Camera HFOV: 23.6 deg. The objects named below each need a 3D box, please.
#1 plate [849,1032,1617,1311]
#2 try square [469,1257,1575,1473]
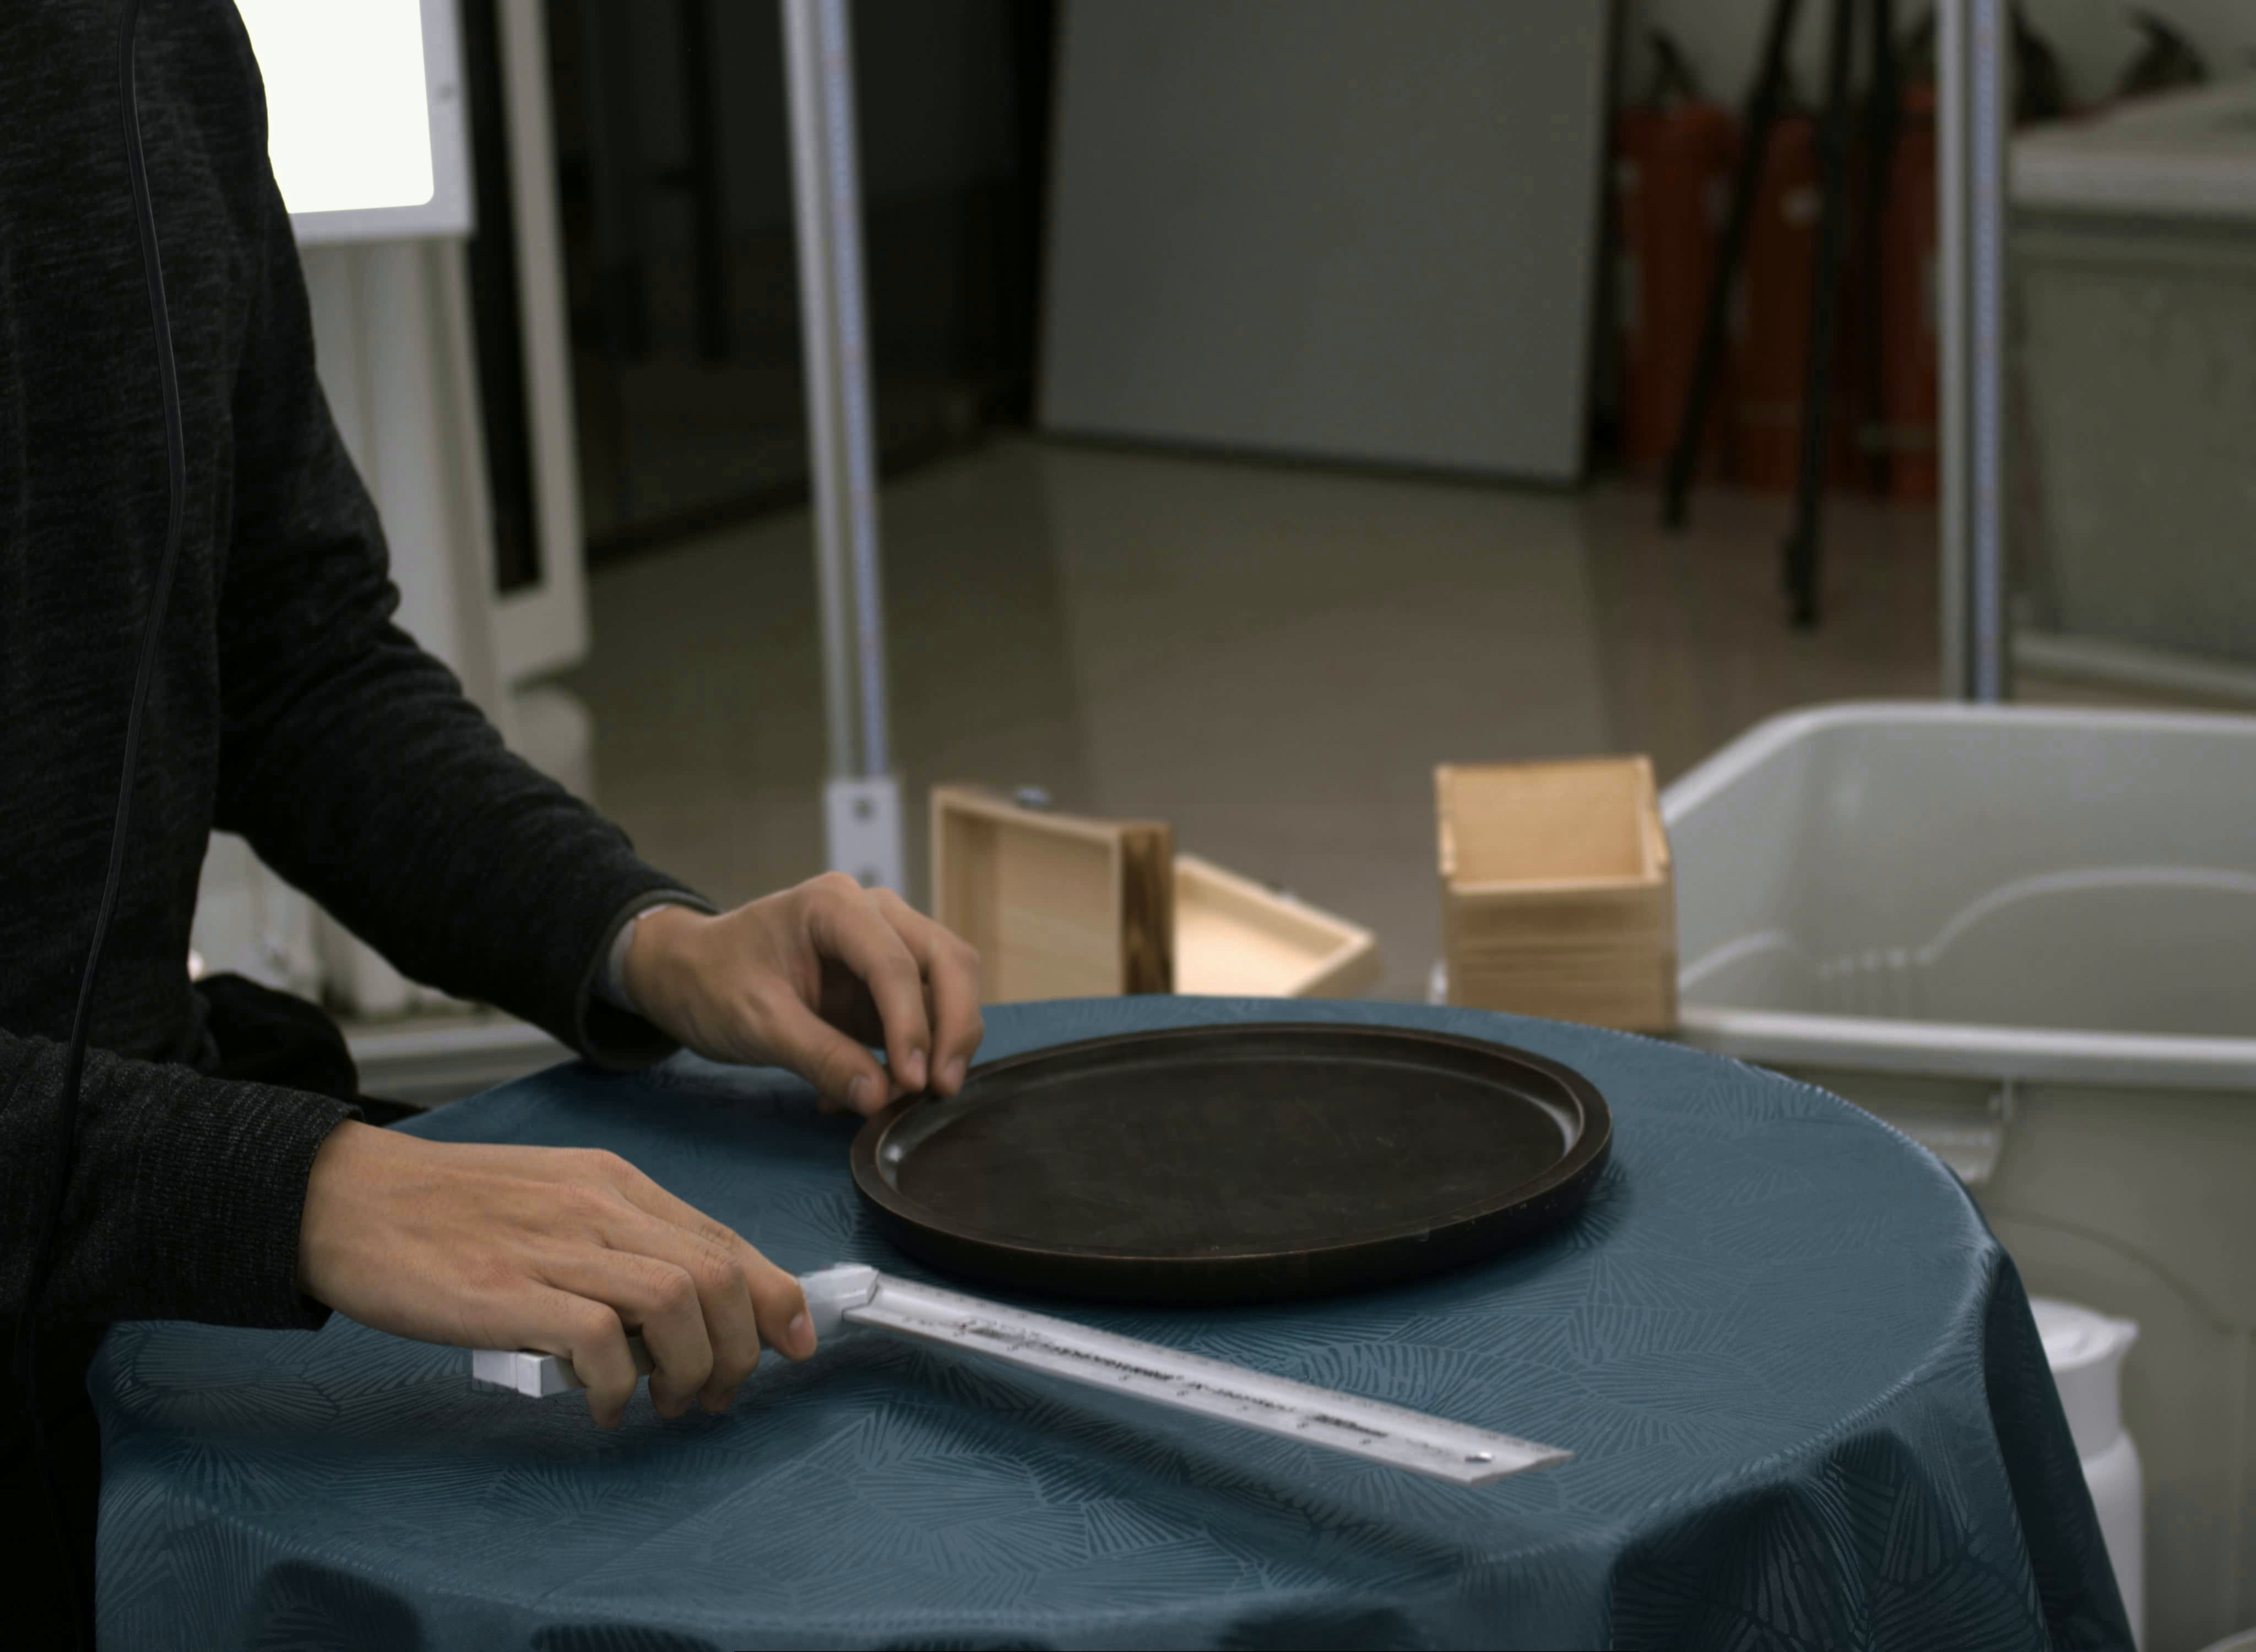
[{"bbox_3d":[0.034,0.110,1.757,0.251,0.029,0.255,-4,15,0],"label":"plate"},{"bbox_3d":[-0.037,0.159,1.497,0.149,0.016,0.316,-10,11,-38],"label":"try square"}]
